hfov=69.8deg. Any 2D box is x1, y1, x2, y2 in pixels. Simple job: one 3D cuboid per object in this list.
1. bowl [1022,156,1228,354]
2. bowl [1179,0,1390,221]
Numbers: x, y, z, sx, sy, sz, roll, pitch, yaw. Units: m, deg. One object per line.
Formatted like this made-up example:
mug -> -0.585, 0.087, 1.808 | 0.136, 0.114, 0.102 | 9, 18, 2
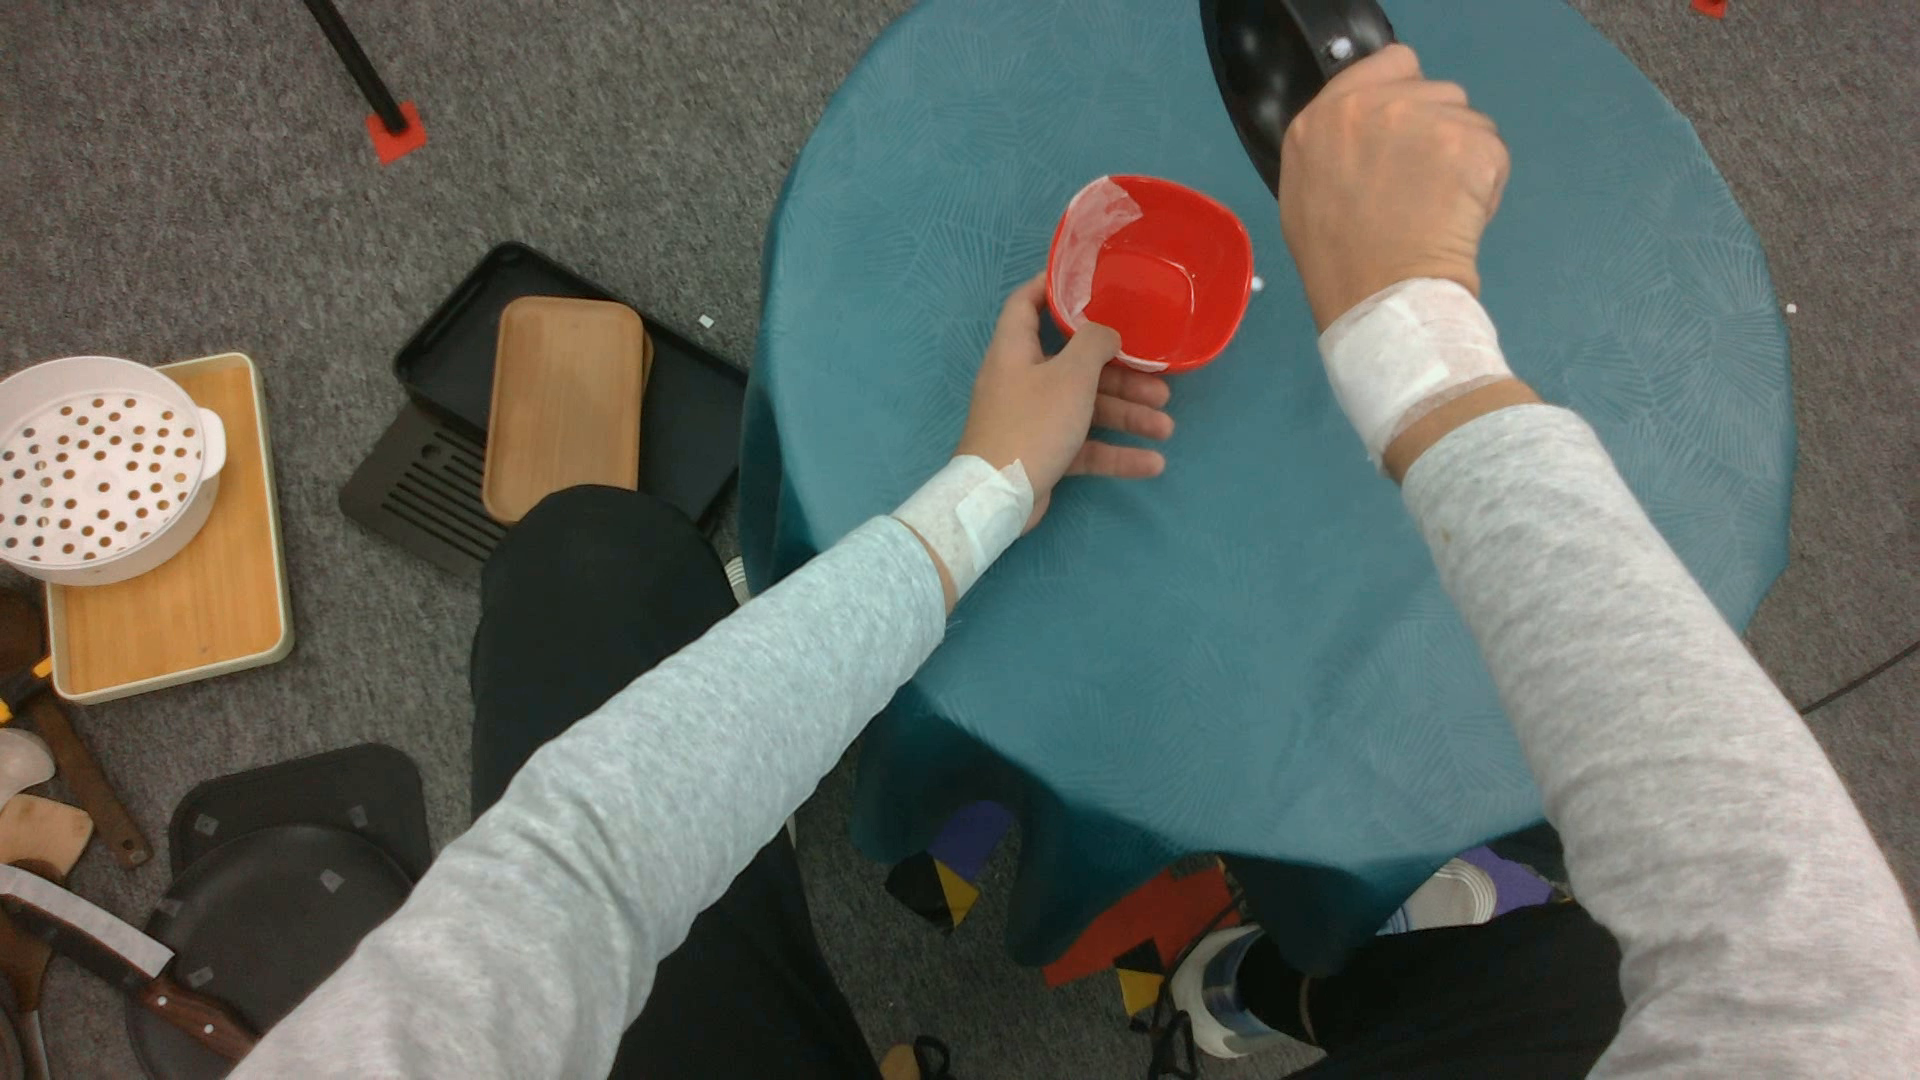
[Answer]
bowl -> 0.087, -0.149, 0.762 | 0.119, 0.051, 0.119 | 2, 72, -7
bowl -> 0.156, -0.220, 0.632 | 0.050, 0.140, 0.140 | -31, 78, 1
